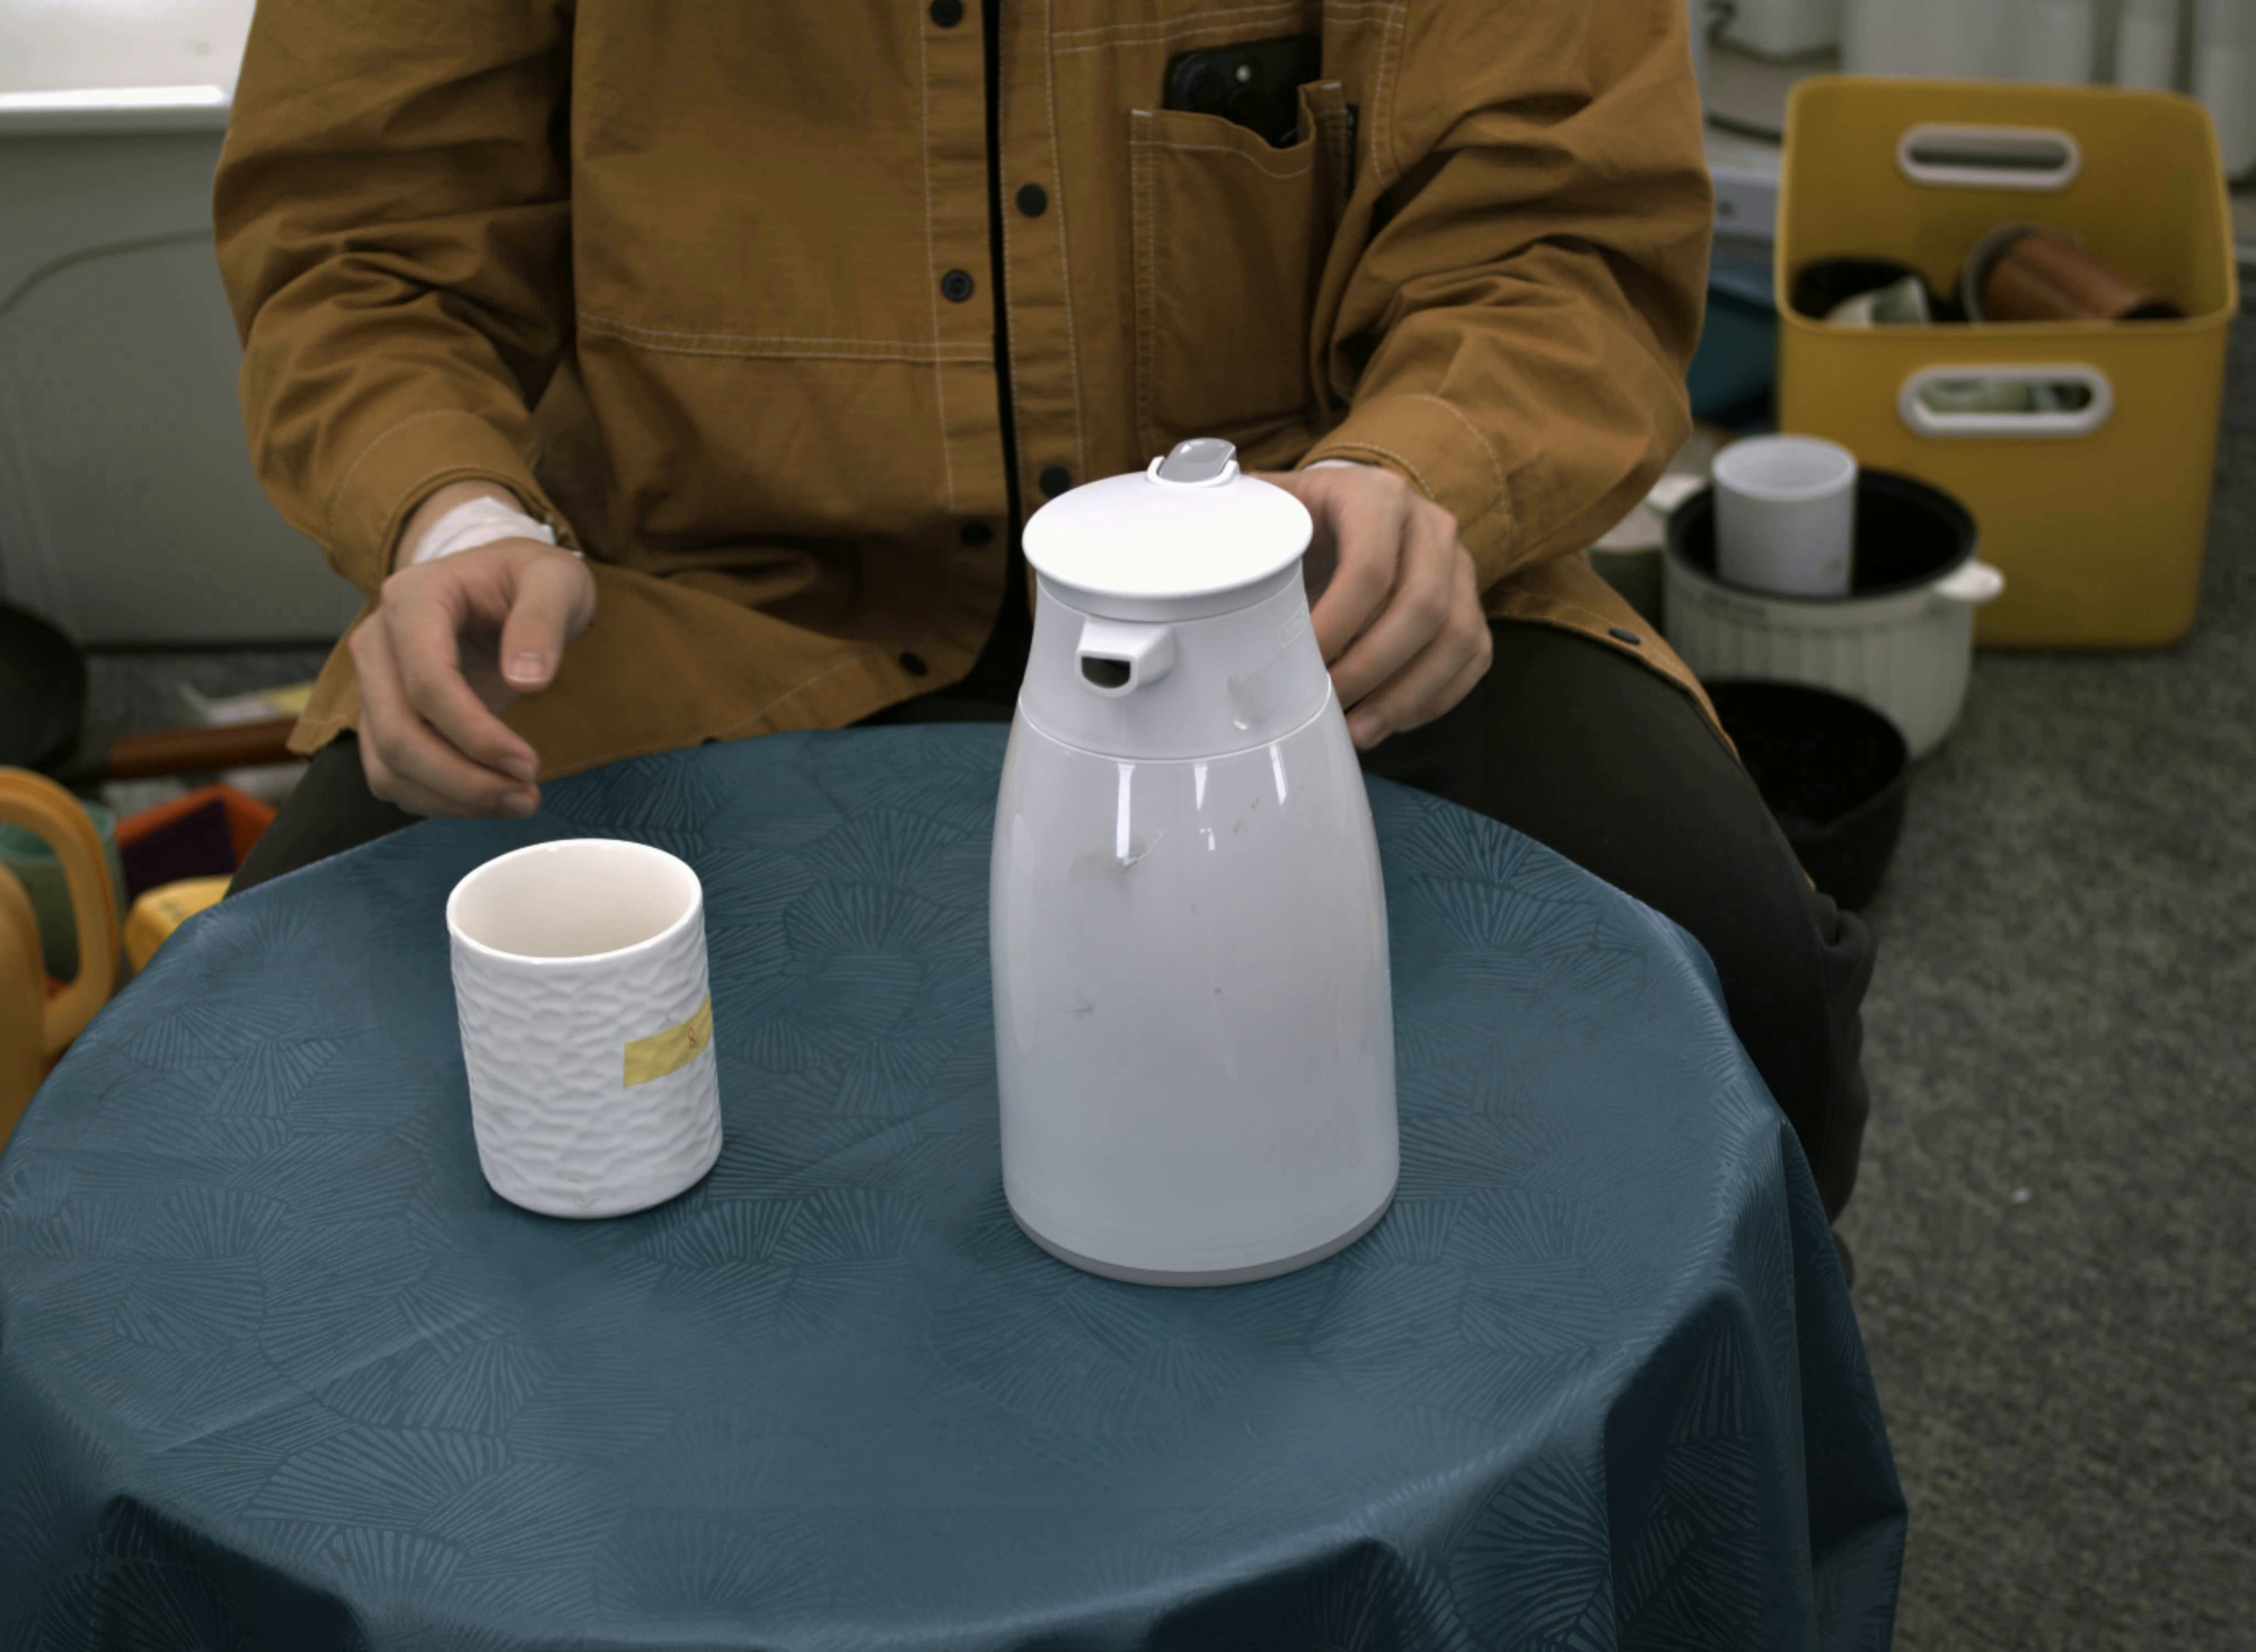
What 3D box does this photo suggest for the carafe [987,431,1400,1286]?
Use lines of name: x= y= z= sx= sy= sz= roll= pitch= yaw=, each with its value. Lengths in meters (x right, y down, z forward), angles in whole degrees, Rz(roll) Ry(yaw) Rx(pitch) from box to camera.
carafe: x=0.022 y=0.000 z=1.826 sx=0.131 sy=0.246 sz=0.170 roll=4 pitch=27 yaw=17

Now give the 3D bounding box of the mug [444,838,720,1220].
mug: x=-0.189 y=0.063 z=1.881 sx=0.085 sy=0.101 sz=0.118 roll=-19 pitch=30 yaw=-30
